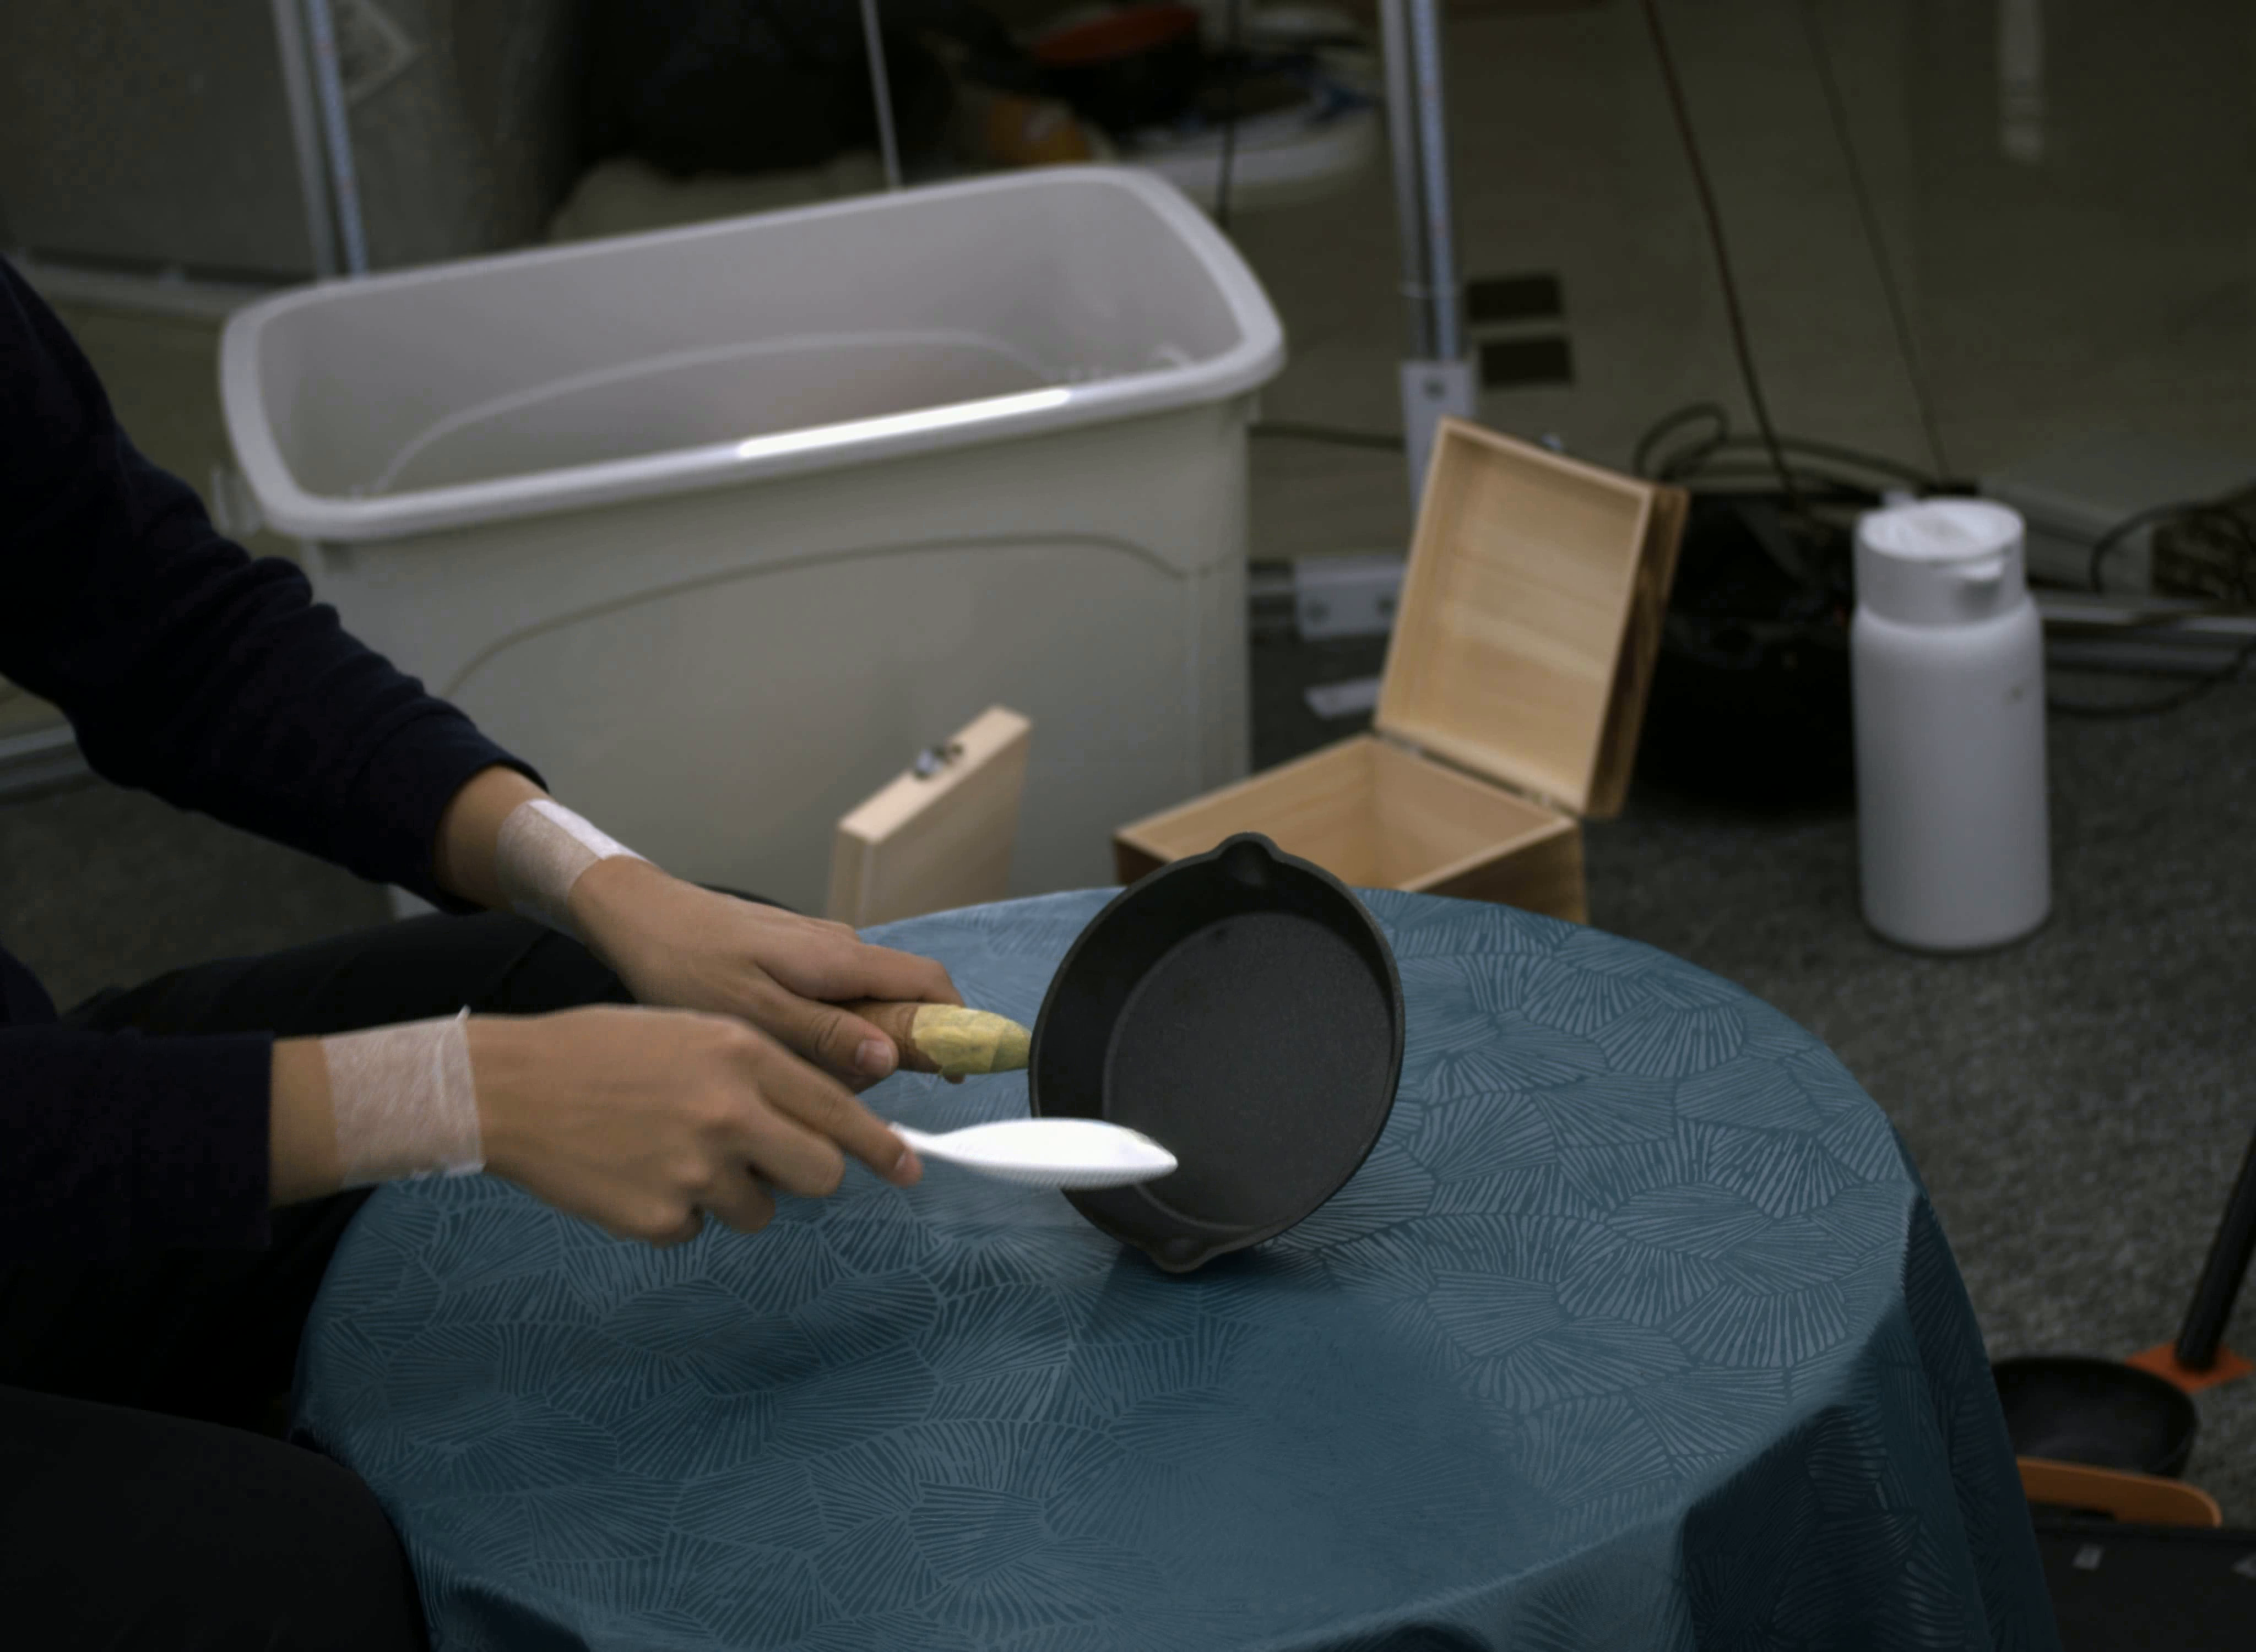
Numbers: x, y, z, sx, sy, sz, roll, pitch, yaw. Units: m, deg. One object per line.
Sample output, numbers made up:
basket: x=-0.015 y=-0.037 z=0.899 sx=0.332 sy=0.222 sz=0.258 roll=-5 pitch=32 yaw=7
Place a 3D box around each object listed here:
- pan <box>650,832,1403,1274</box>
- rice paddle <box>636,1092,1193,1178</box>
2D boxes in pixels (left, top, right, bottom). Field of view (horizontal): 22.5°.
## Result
pan: x=-0.038 y=0.081 z=2.147 sx=0.323 sy=0.168 sz=0.050 roll=4 pitch=-13 yaw=30
rice paddle: x=-0.076 y=0.112 z=2.063 sx=0.205 sy=0.030 sz=0.068 roll=1 pitch=12 yaw=-13
